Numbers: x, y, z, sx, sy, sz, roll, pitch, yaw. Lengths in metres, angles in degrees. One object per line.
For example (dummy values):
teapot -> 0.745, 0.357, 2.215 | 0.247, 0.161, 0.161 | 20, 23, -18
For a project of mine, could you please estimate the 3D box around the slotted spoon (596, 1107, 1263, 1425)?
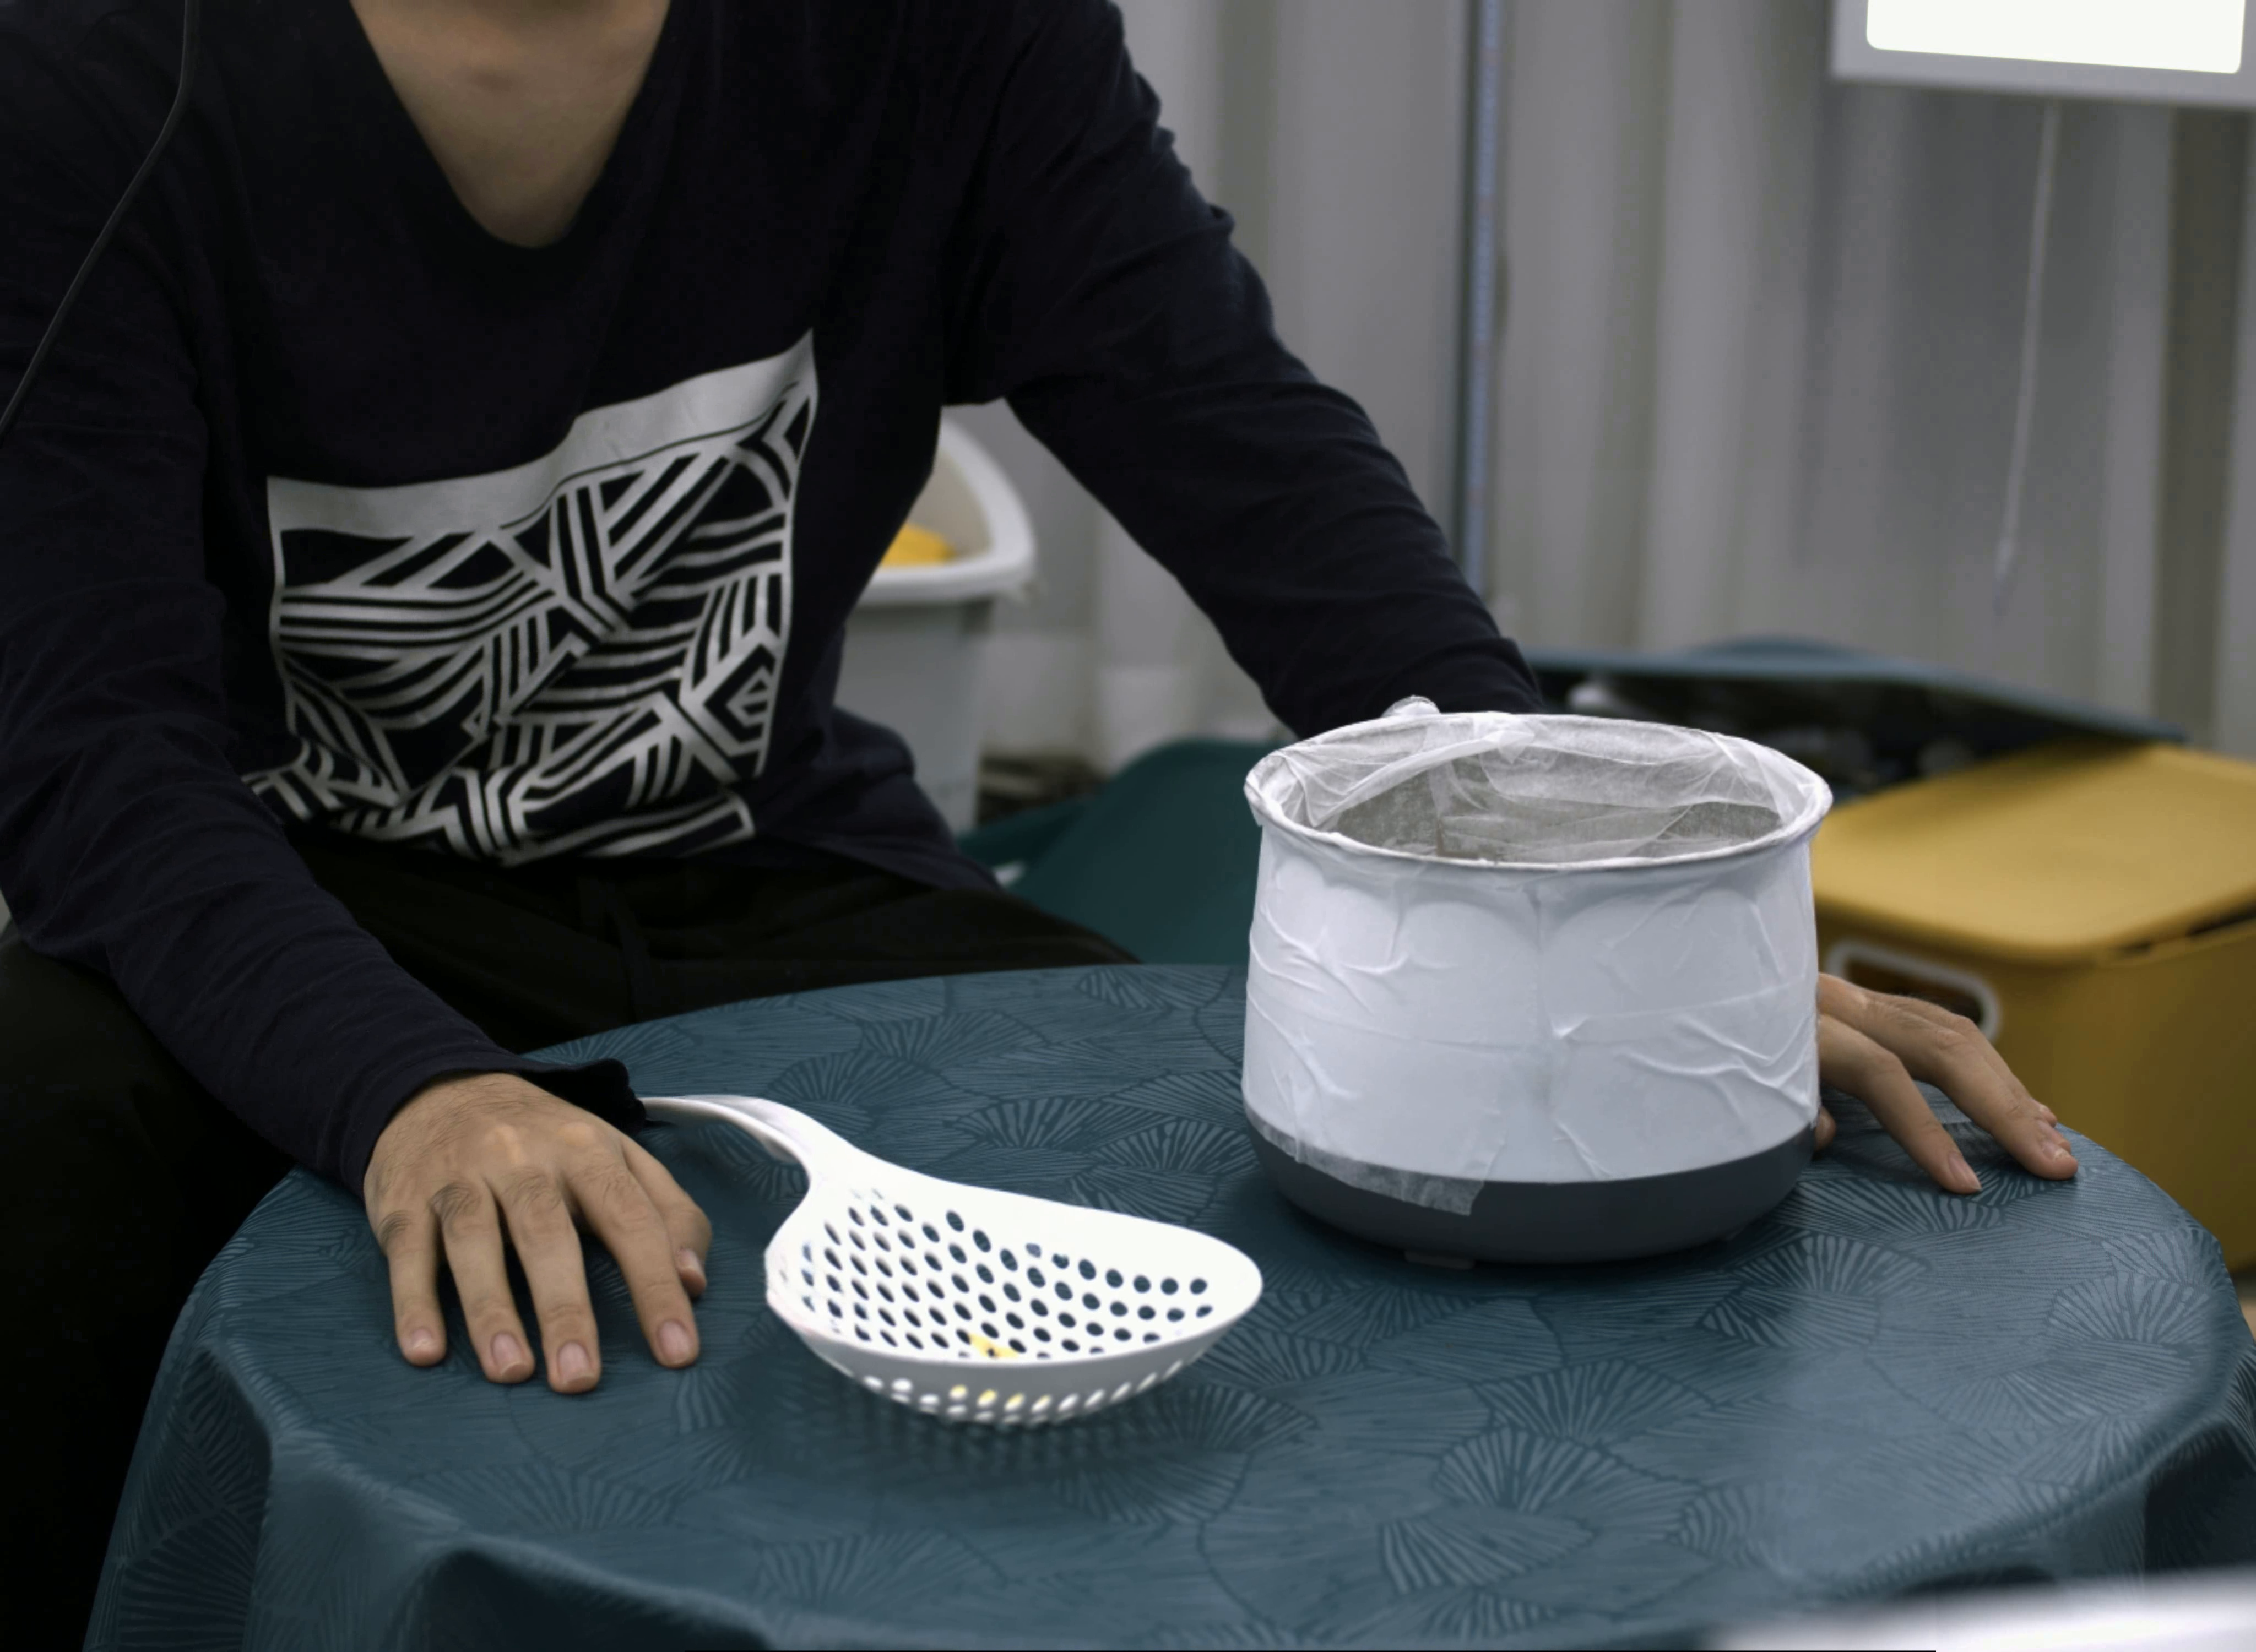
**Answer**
slotted spoon -> -0.081, 0.114, 1.536 | 0.137, 0.051, 0.343 | -8, 18, -26

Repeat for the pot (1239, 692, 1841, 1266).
pot -> 0.113, 0.042, 1.626 | 0.179, 0.137, 0.231 | -3, 16, -21
